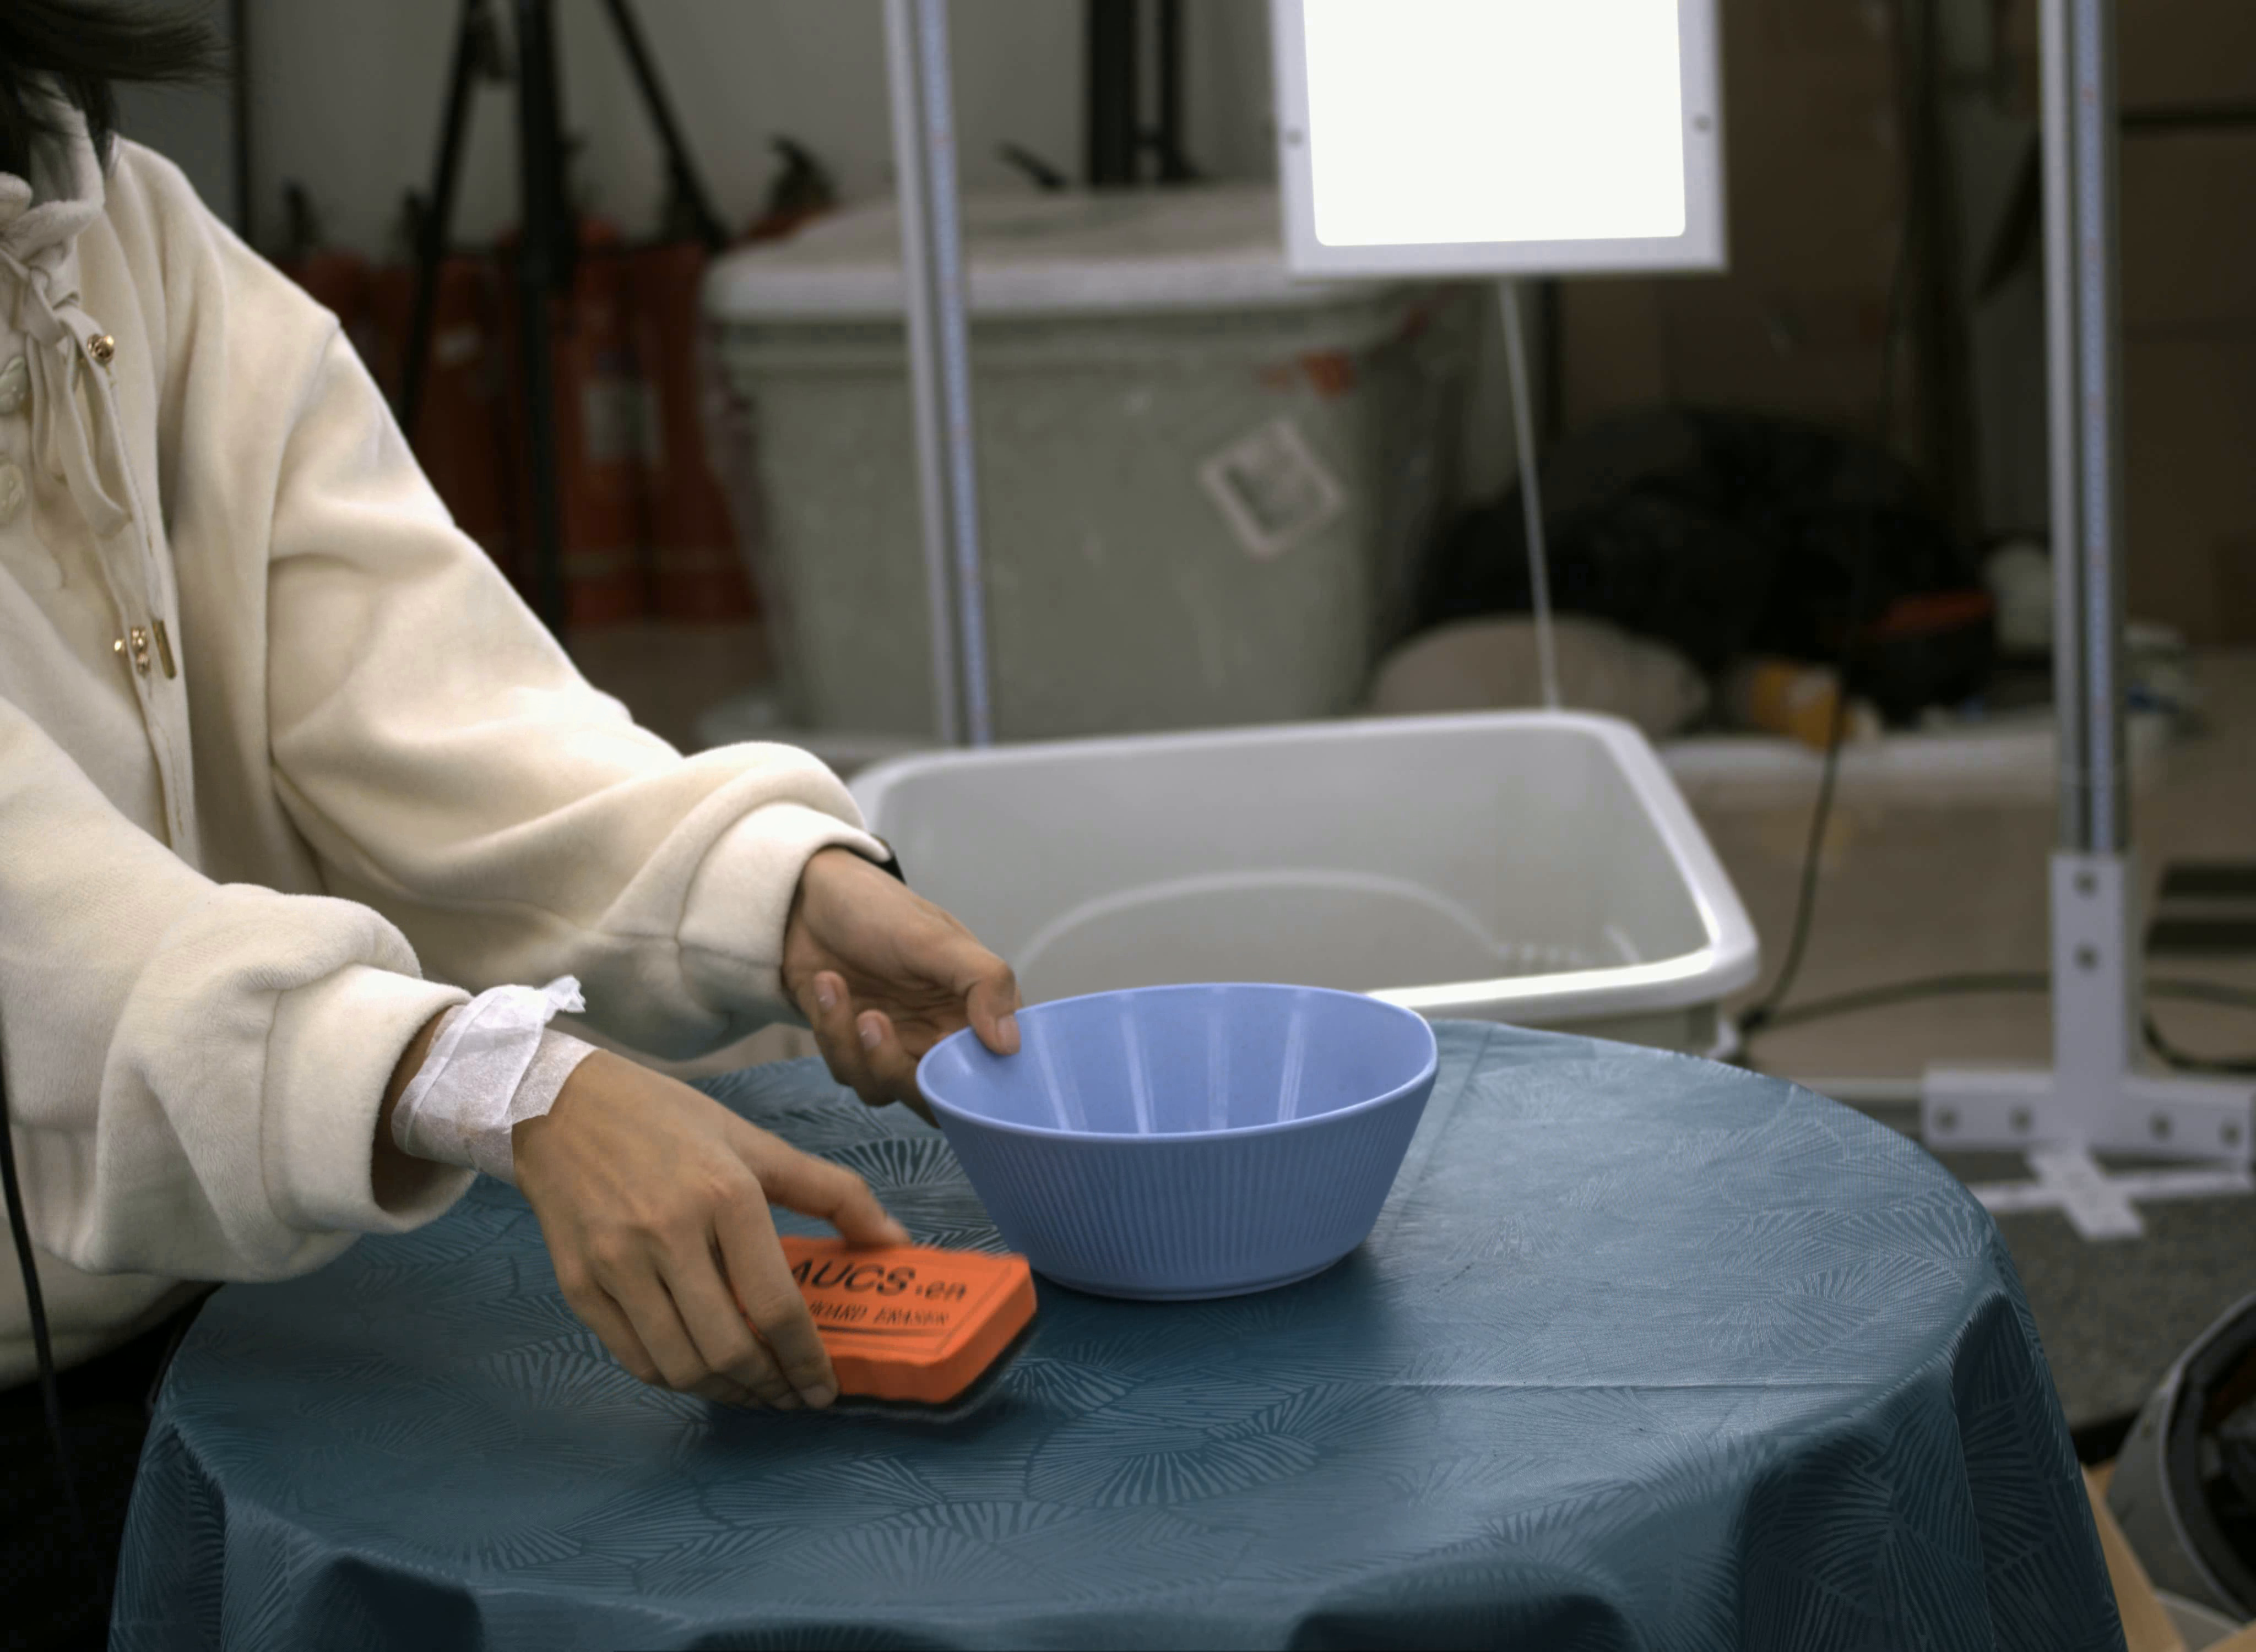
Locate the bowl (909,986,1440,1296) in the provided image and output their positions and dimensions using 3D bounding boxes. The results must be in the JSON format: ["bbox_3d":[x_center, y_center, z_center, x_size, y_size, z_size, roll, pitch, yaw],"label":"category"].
[{"bbox_3d":[0.017,0.106,1.821,0.175,0.070,0.176,-4,14,0],"label":"bowl"}]

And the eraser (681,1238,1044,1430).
[{"bbox_3d":[-0.082,0.157,1.710,0.110,0.023,0.058,4,35,38],"label":"eraser"}]
